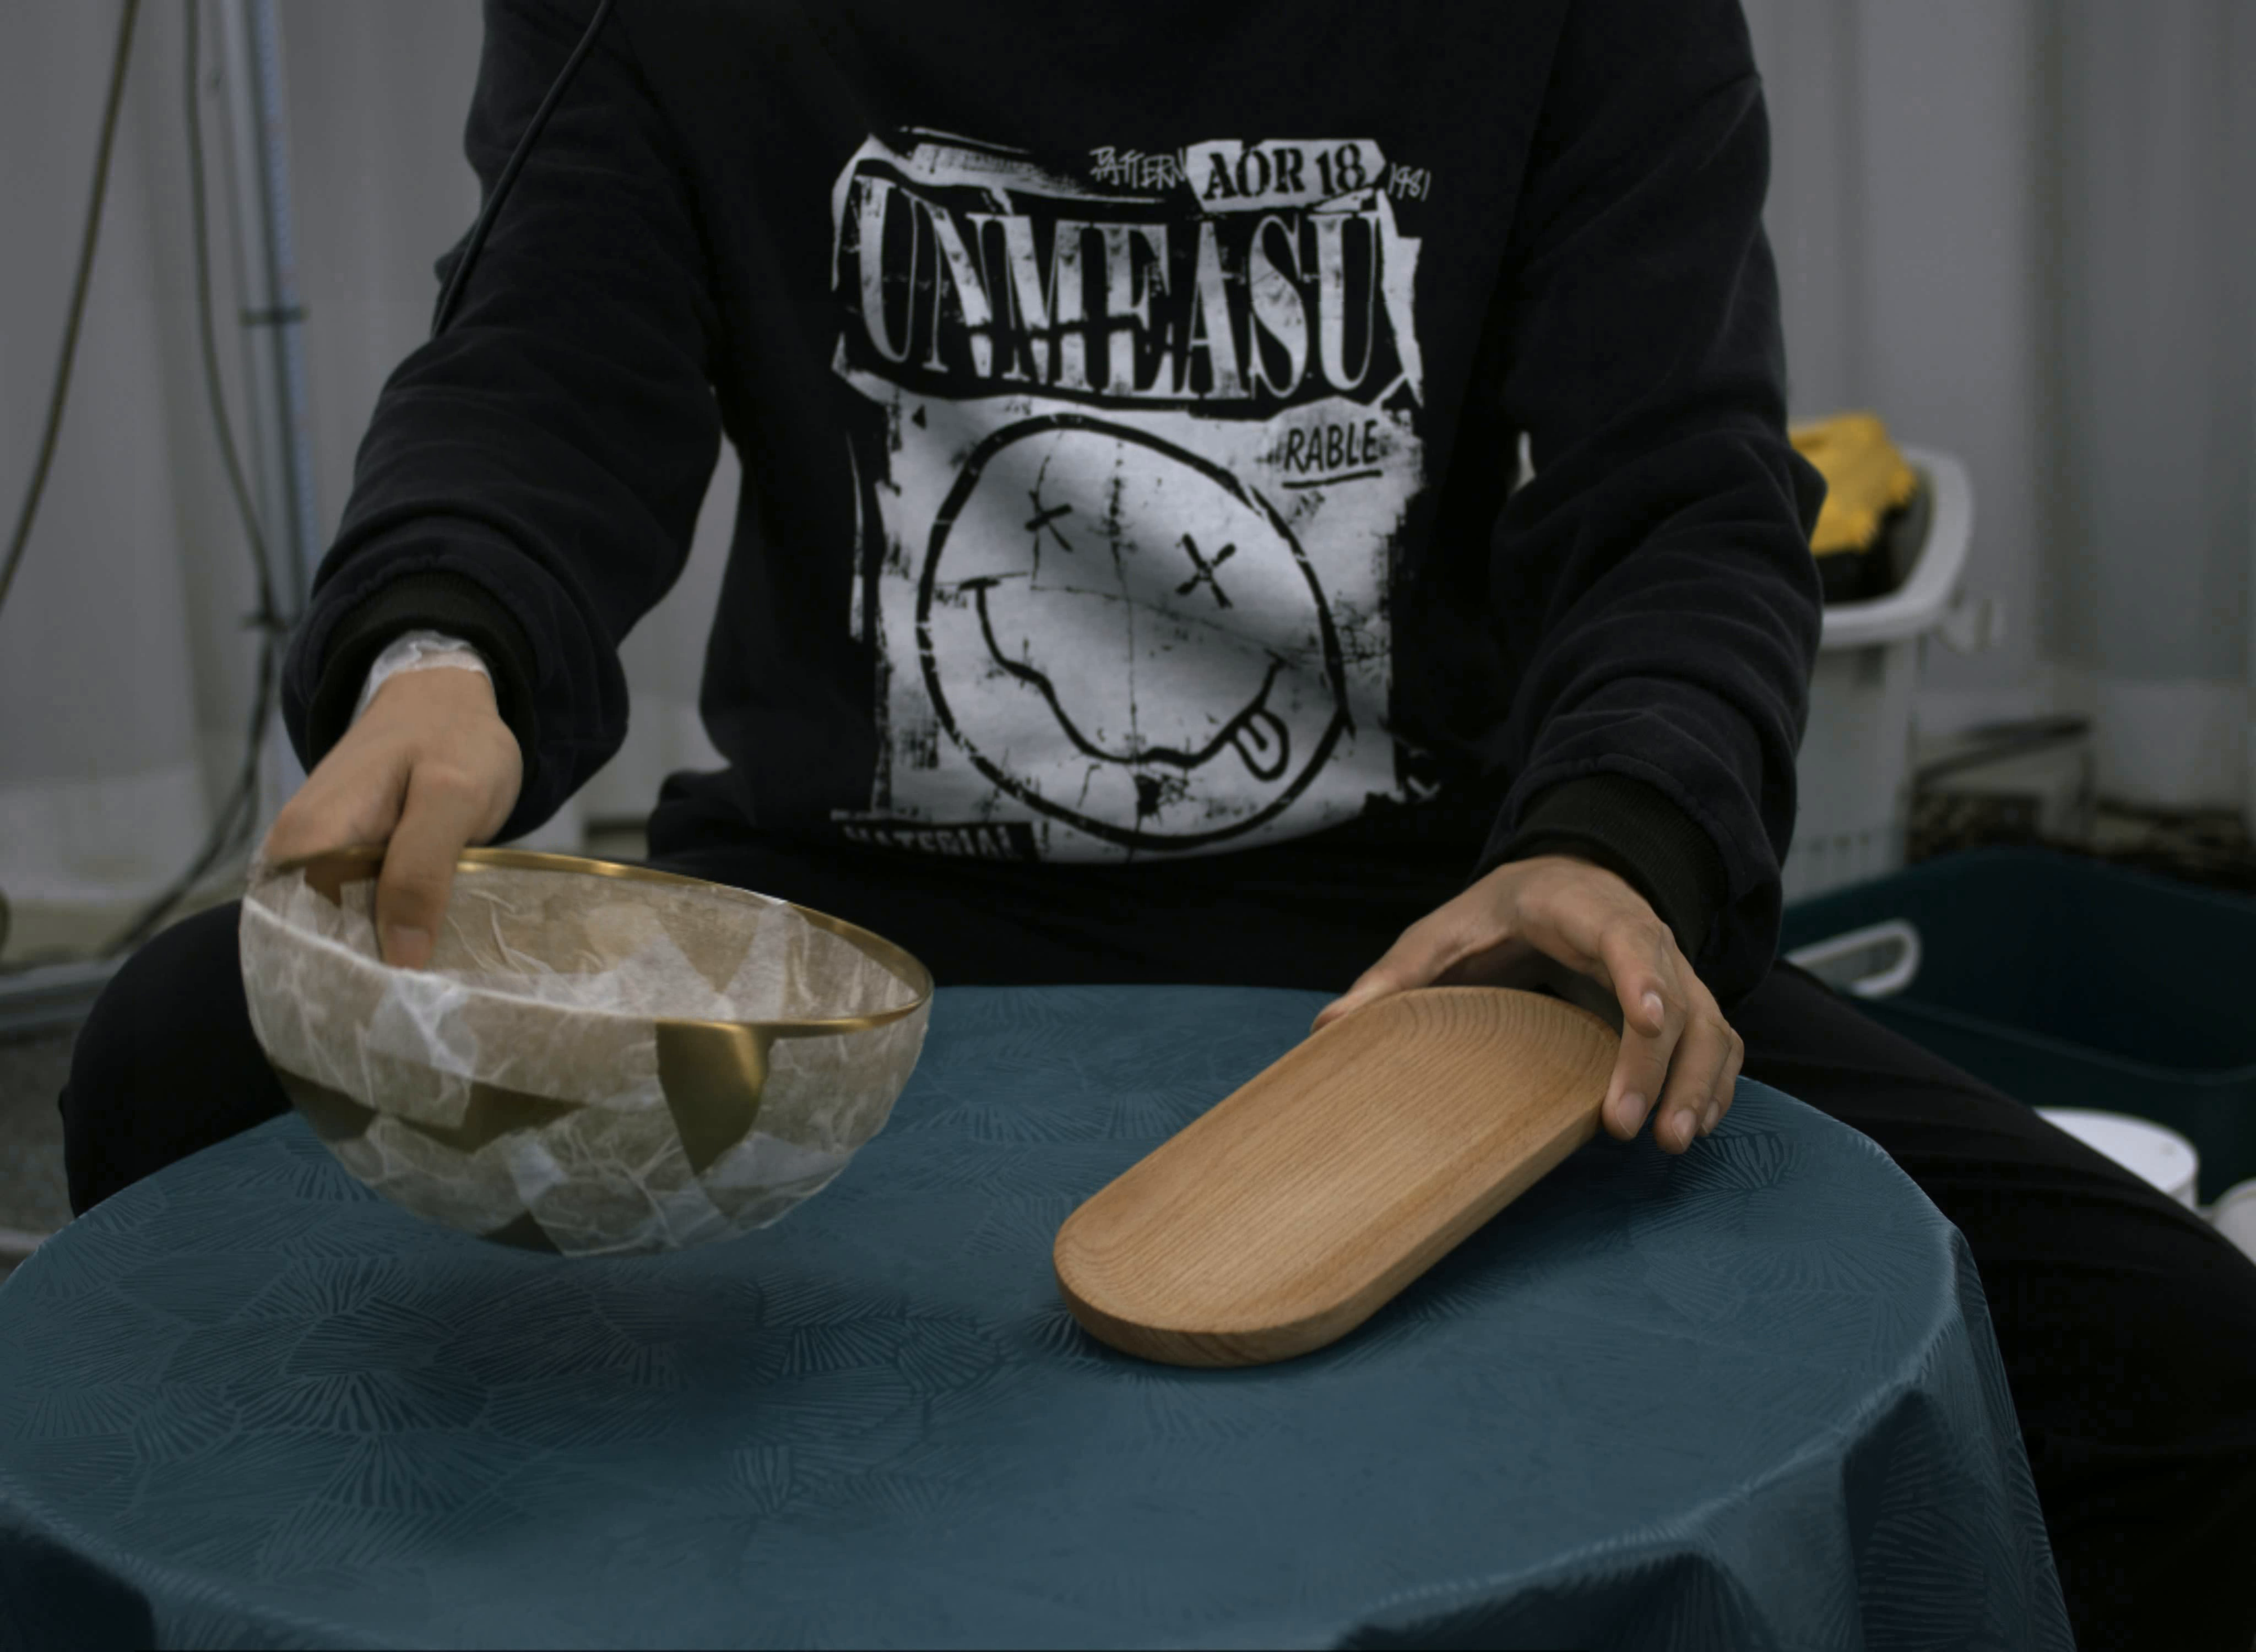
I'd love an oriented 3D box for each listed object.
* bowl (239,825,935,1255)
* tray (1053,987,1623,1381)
[{"bbox_3d":[-0.158,0.071,1.590,0.214,0.094,0.215,10,10,-2],"label":"bowl"},{"bbox_3d":[0.066,0.105,1.642,0.102,0.020,0.232,12,31,33],"label":"tray"}]
